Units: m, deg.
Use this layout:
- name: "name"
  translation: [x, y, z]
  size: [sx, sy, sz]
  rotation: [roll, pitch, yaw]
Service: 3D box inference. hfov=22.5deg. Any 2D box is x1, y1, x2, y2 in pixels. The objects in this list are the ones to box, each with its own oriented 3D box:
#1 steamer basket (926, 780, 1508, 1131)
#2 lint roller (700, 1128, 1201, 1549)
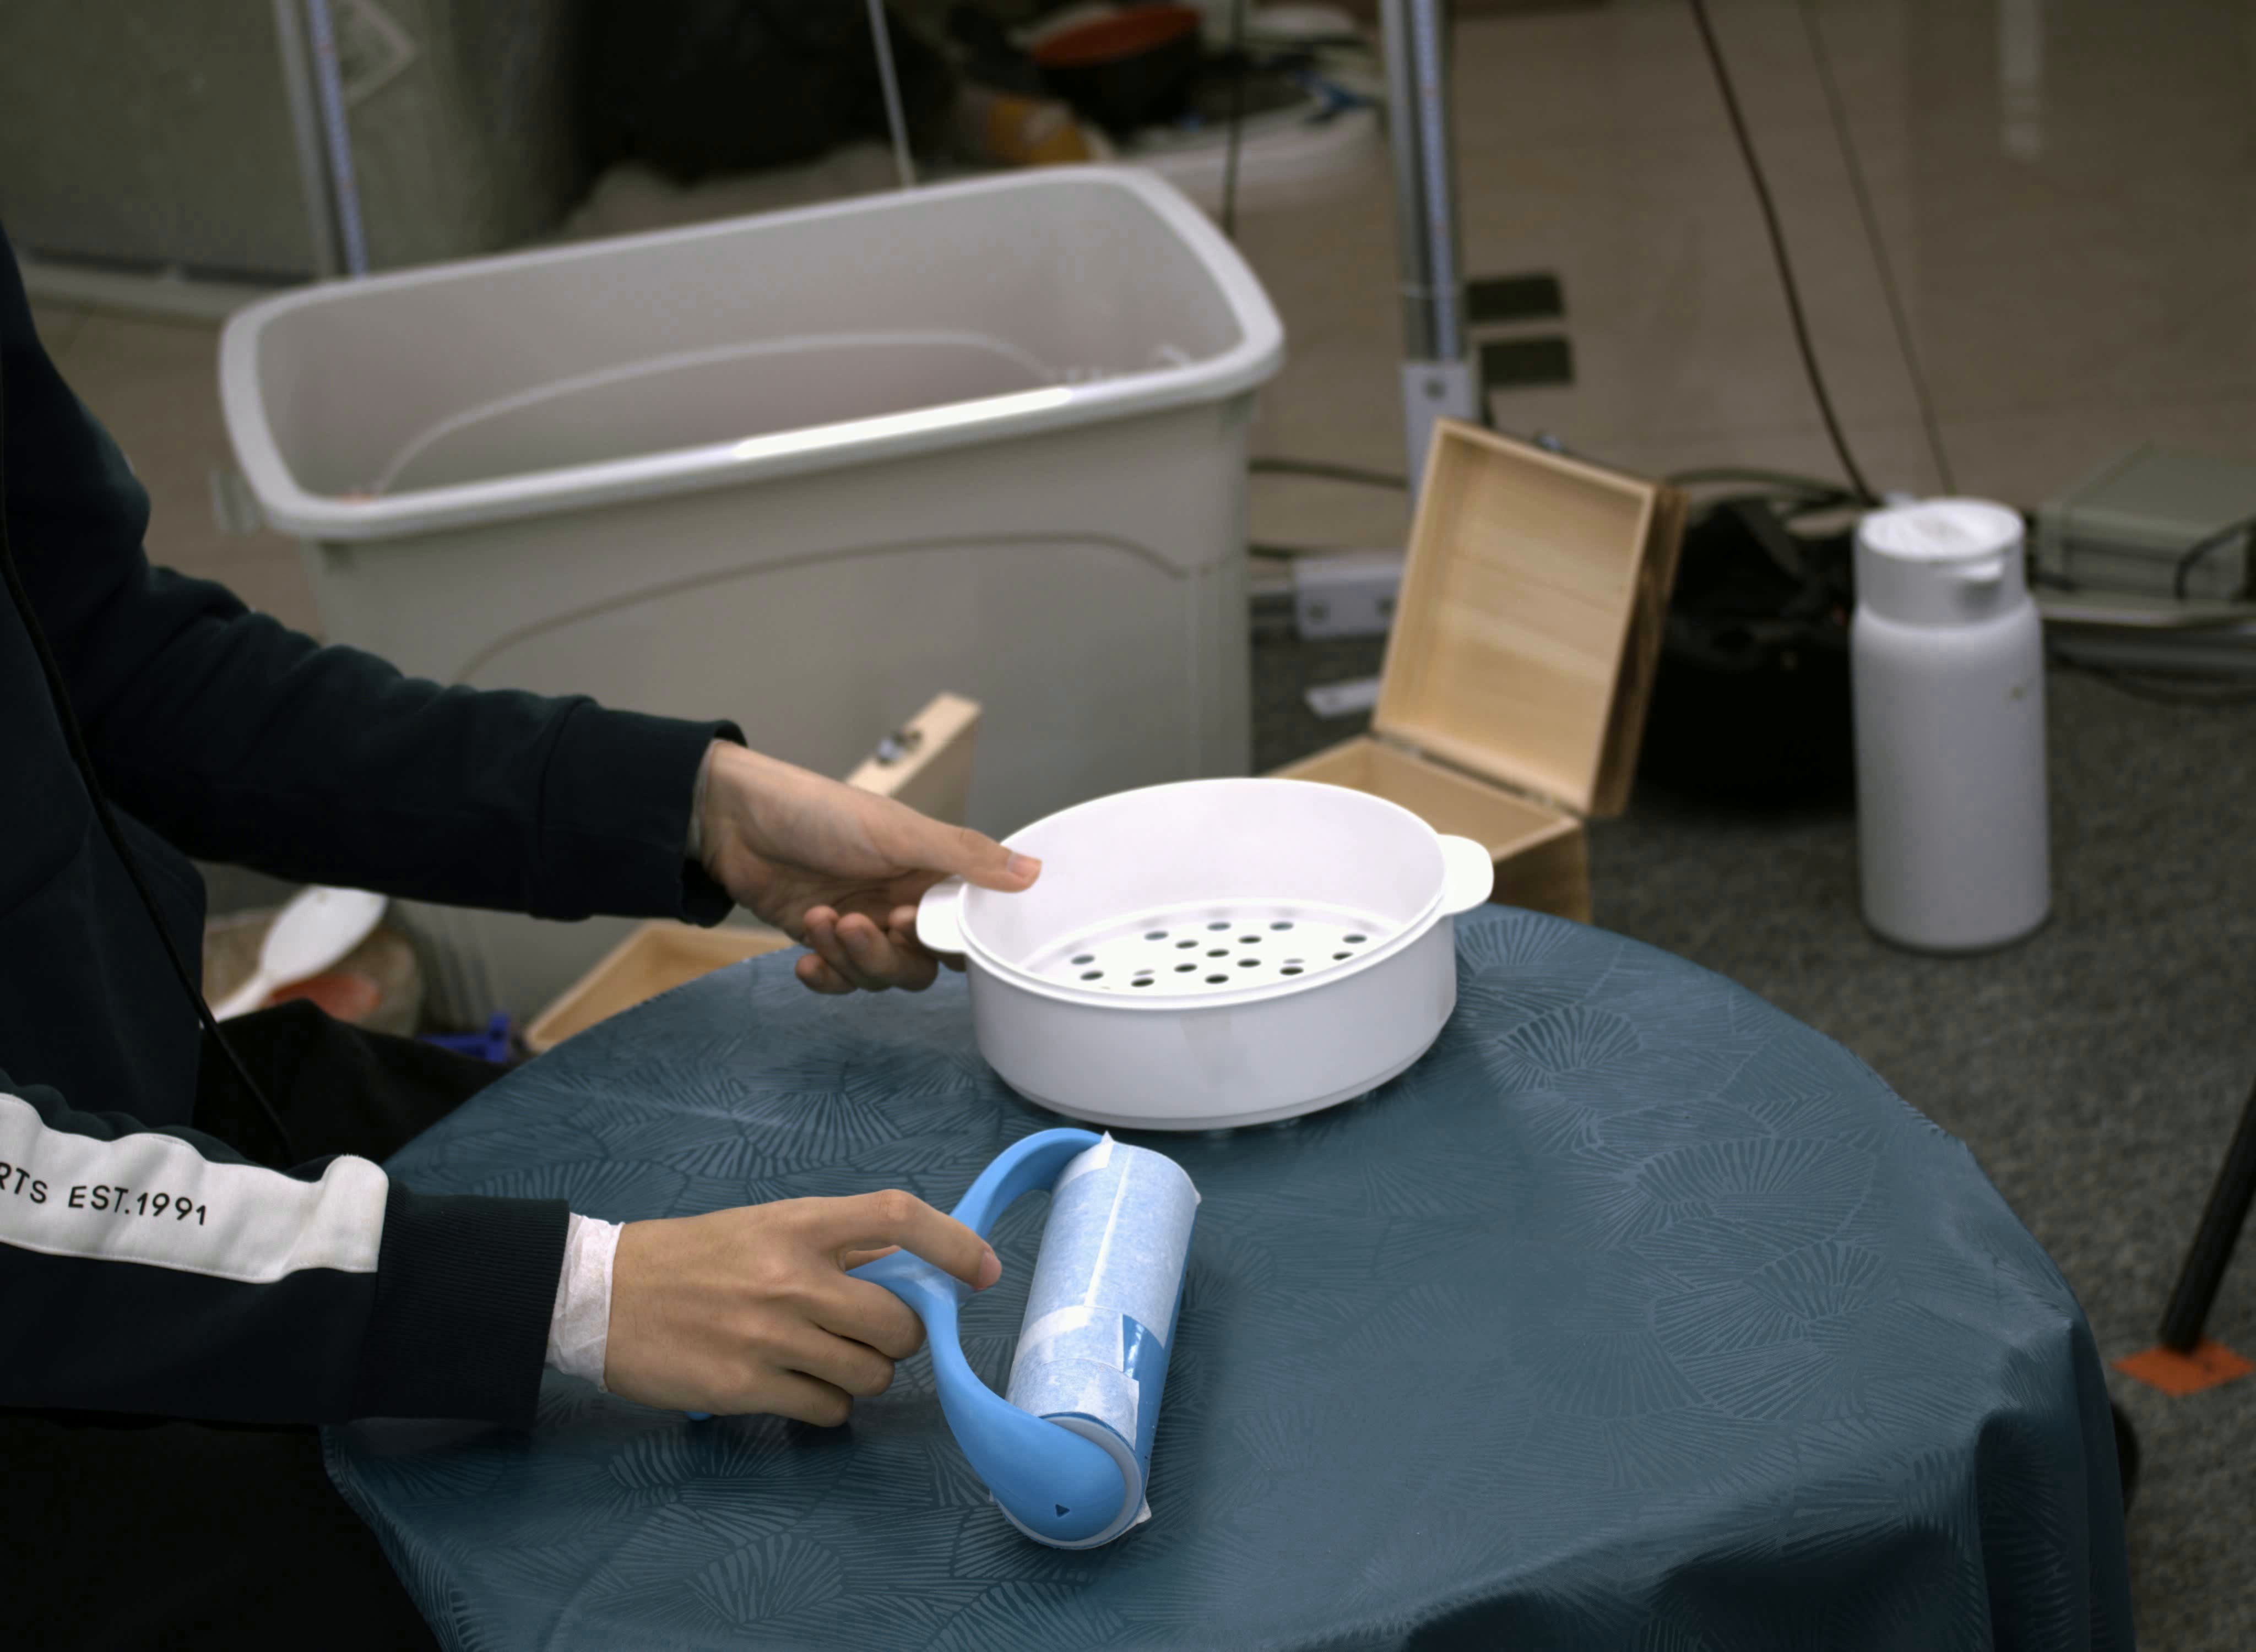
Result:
- name: "steamer basket"
  translation: [0.038, 0.051, 2.241]
  size: [0.230, 0.070, 0.199]
  rotation: [-5, 24, 5]
- name: "lint roller"
  translation: [-0.065, 0.183, 2.001]
  size: [0.180, 0.069, 0.225]
  rotation: [-4, 27, 4]
